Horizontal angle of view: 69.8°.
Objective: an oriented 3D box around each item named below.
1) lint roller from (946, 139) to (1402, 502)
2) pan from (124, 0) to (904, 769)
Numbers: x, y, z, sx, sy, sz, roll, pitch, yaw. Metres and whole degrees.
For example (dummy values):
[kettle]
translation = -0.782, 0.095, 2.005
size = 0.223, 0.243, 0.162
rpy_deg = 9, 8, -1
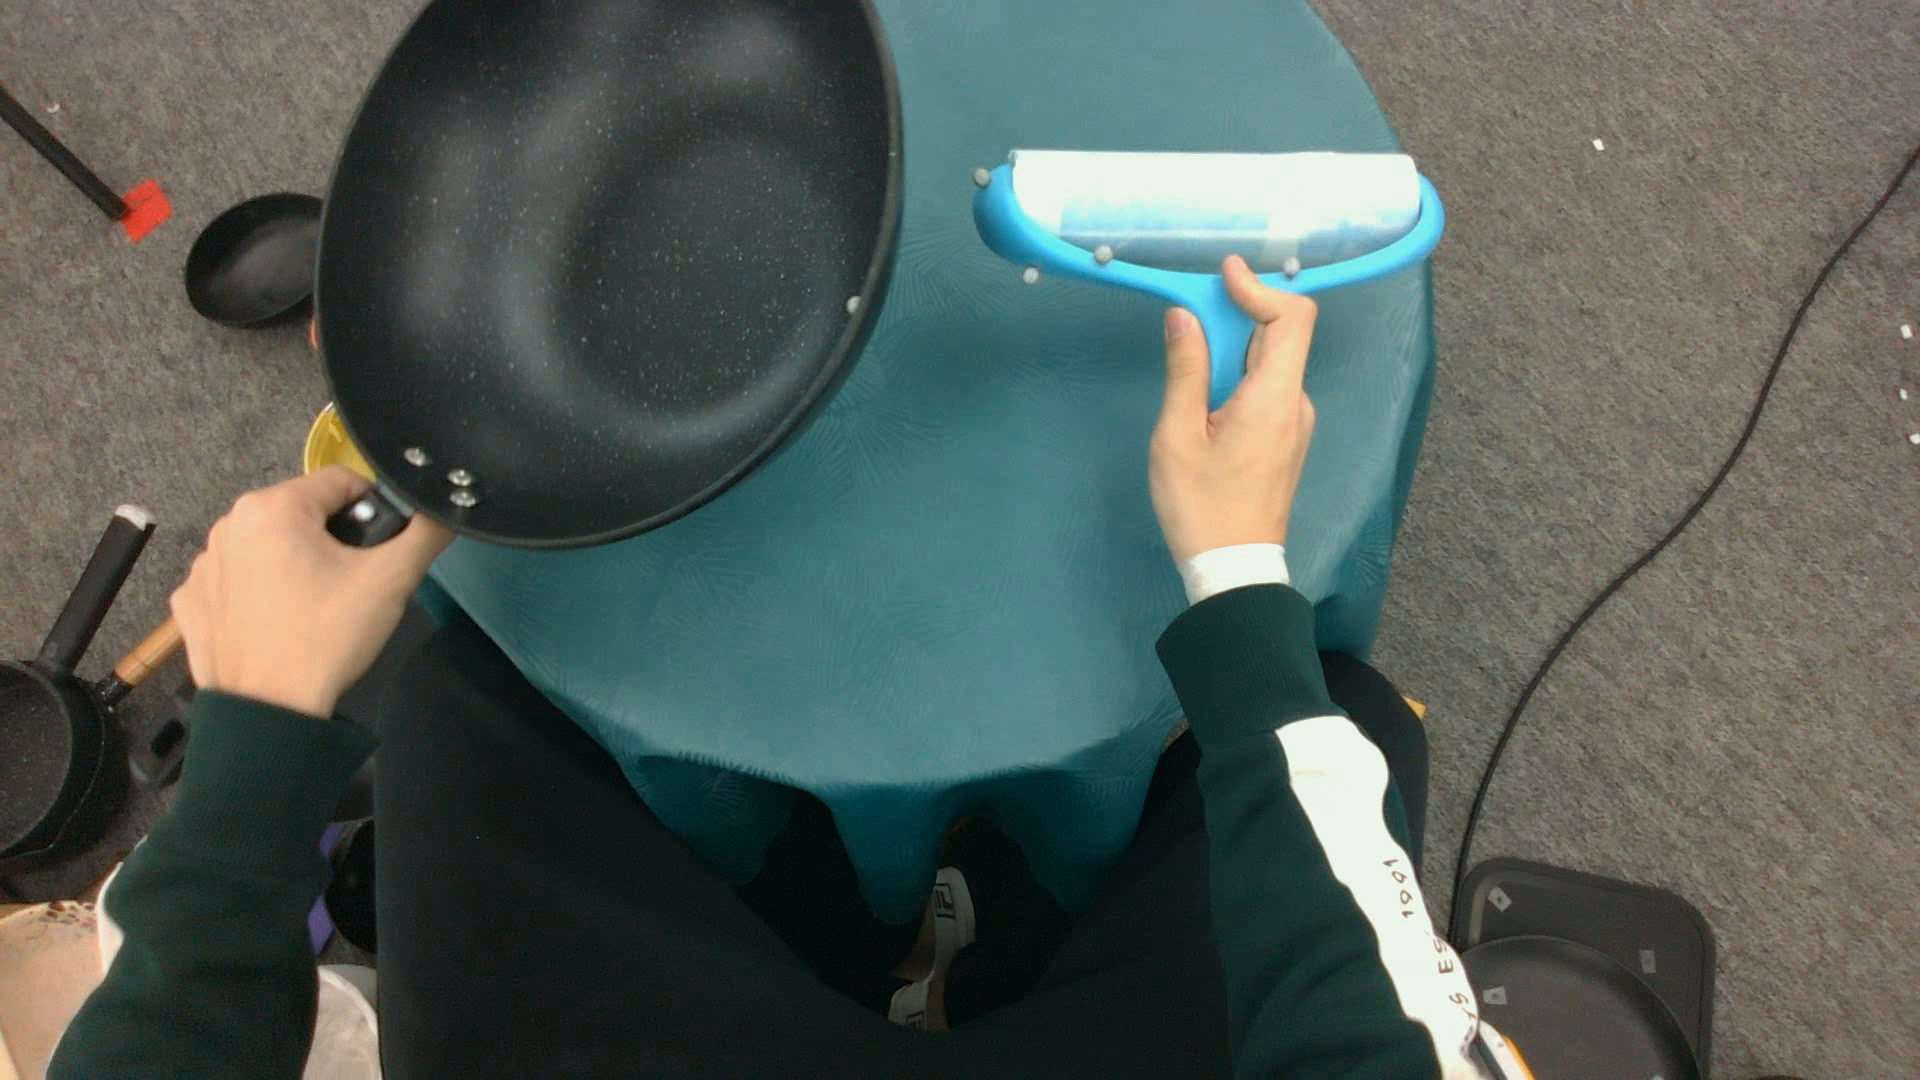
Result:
[lint roller]
translation = 0.113, -0.113, 0.674
size = 0.229, 0.068, 0.180
rpy_deg = -4, 78, -9
[pan]
translation = -0.207, -0.088, 0.641
size = 0.310, 0.111, 0.476
rpy_deg = 36, 92, 23
